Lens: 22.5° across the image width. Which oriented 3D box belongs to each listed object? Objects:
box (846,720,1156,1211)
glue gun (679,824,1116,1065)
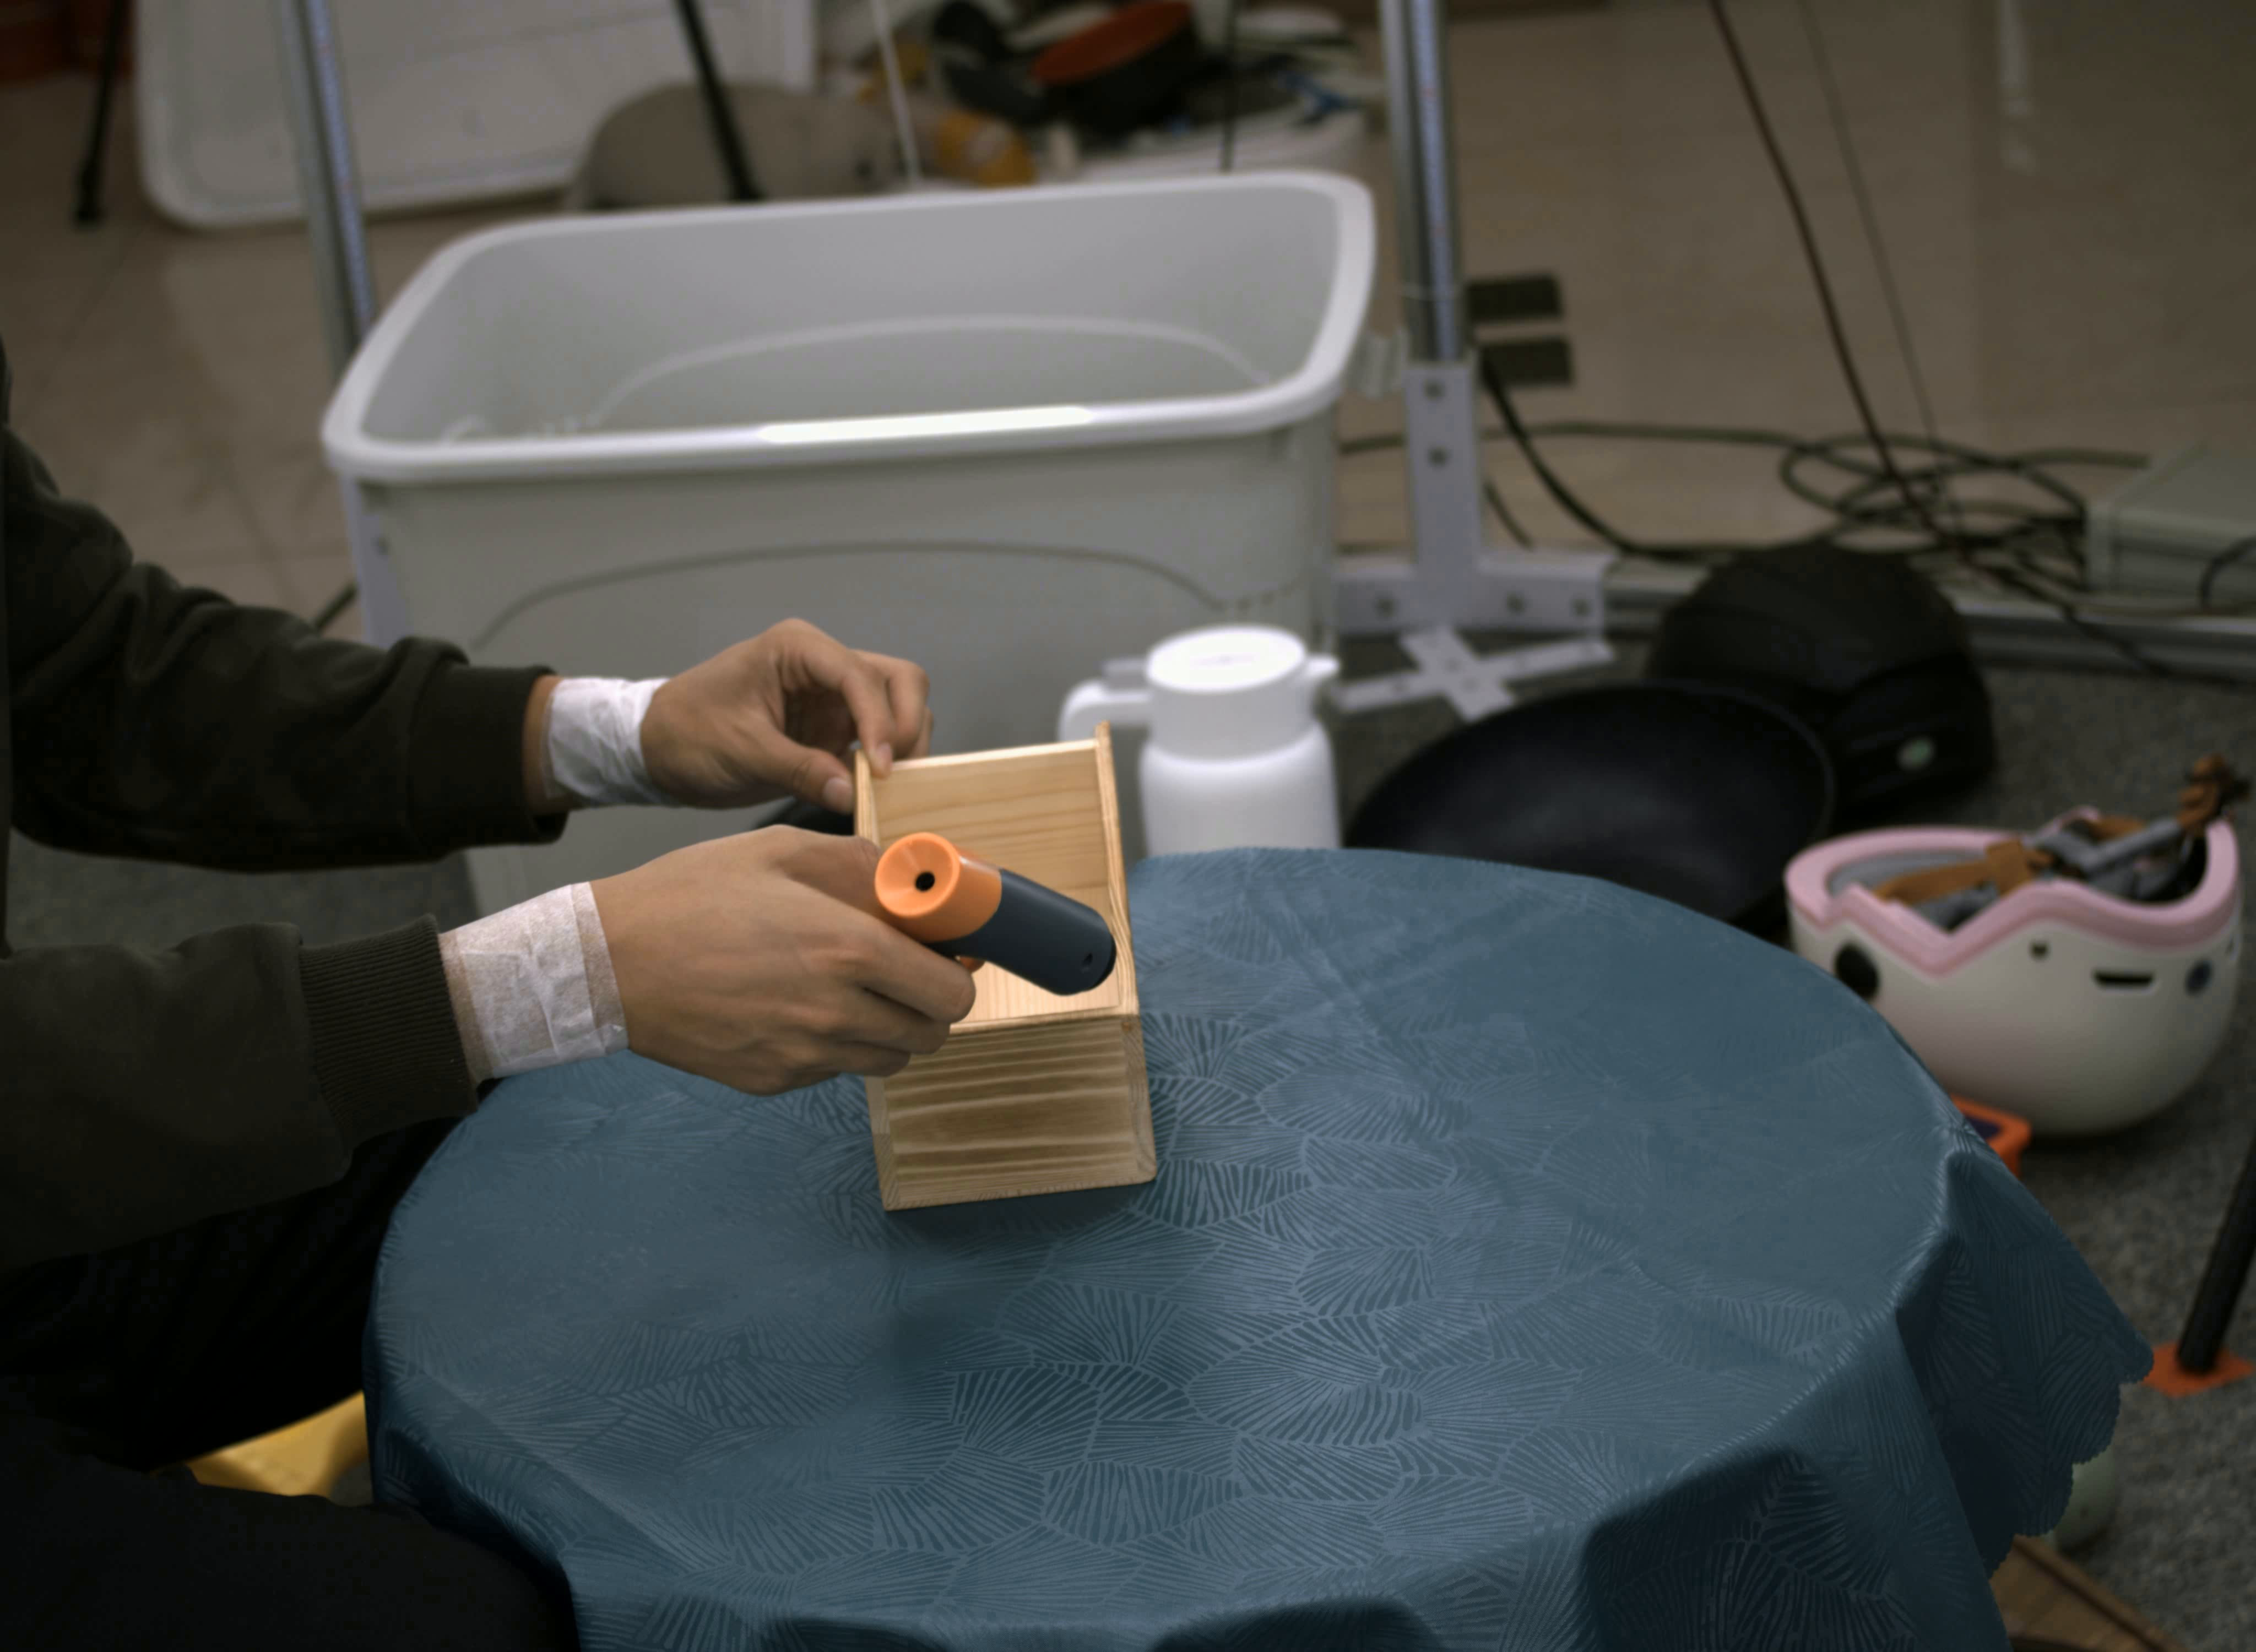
[{"bbox_3d":[-0.051,0.052,2.218,0.107,0.082,0.208,-7,33,0],"label":"box"},{"bbox_3d":[-0.082,0.046,2.055,0.140,0.119,0.040,-14,60,13],"label":"glue gun"}]
